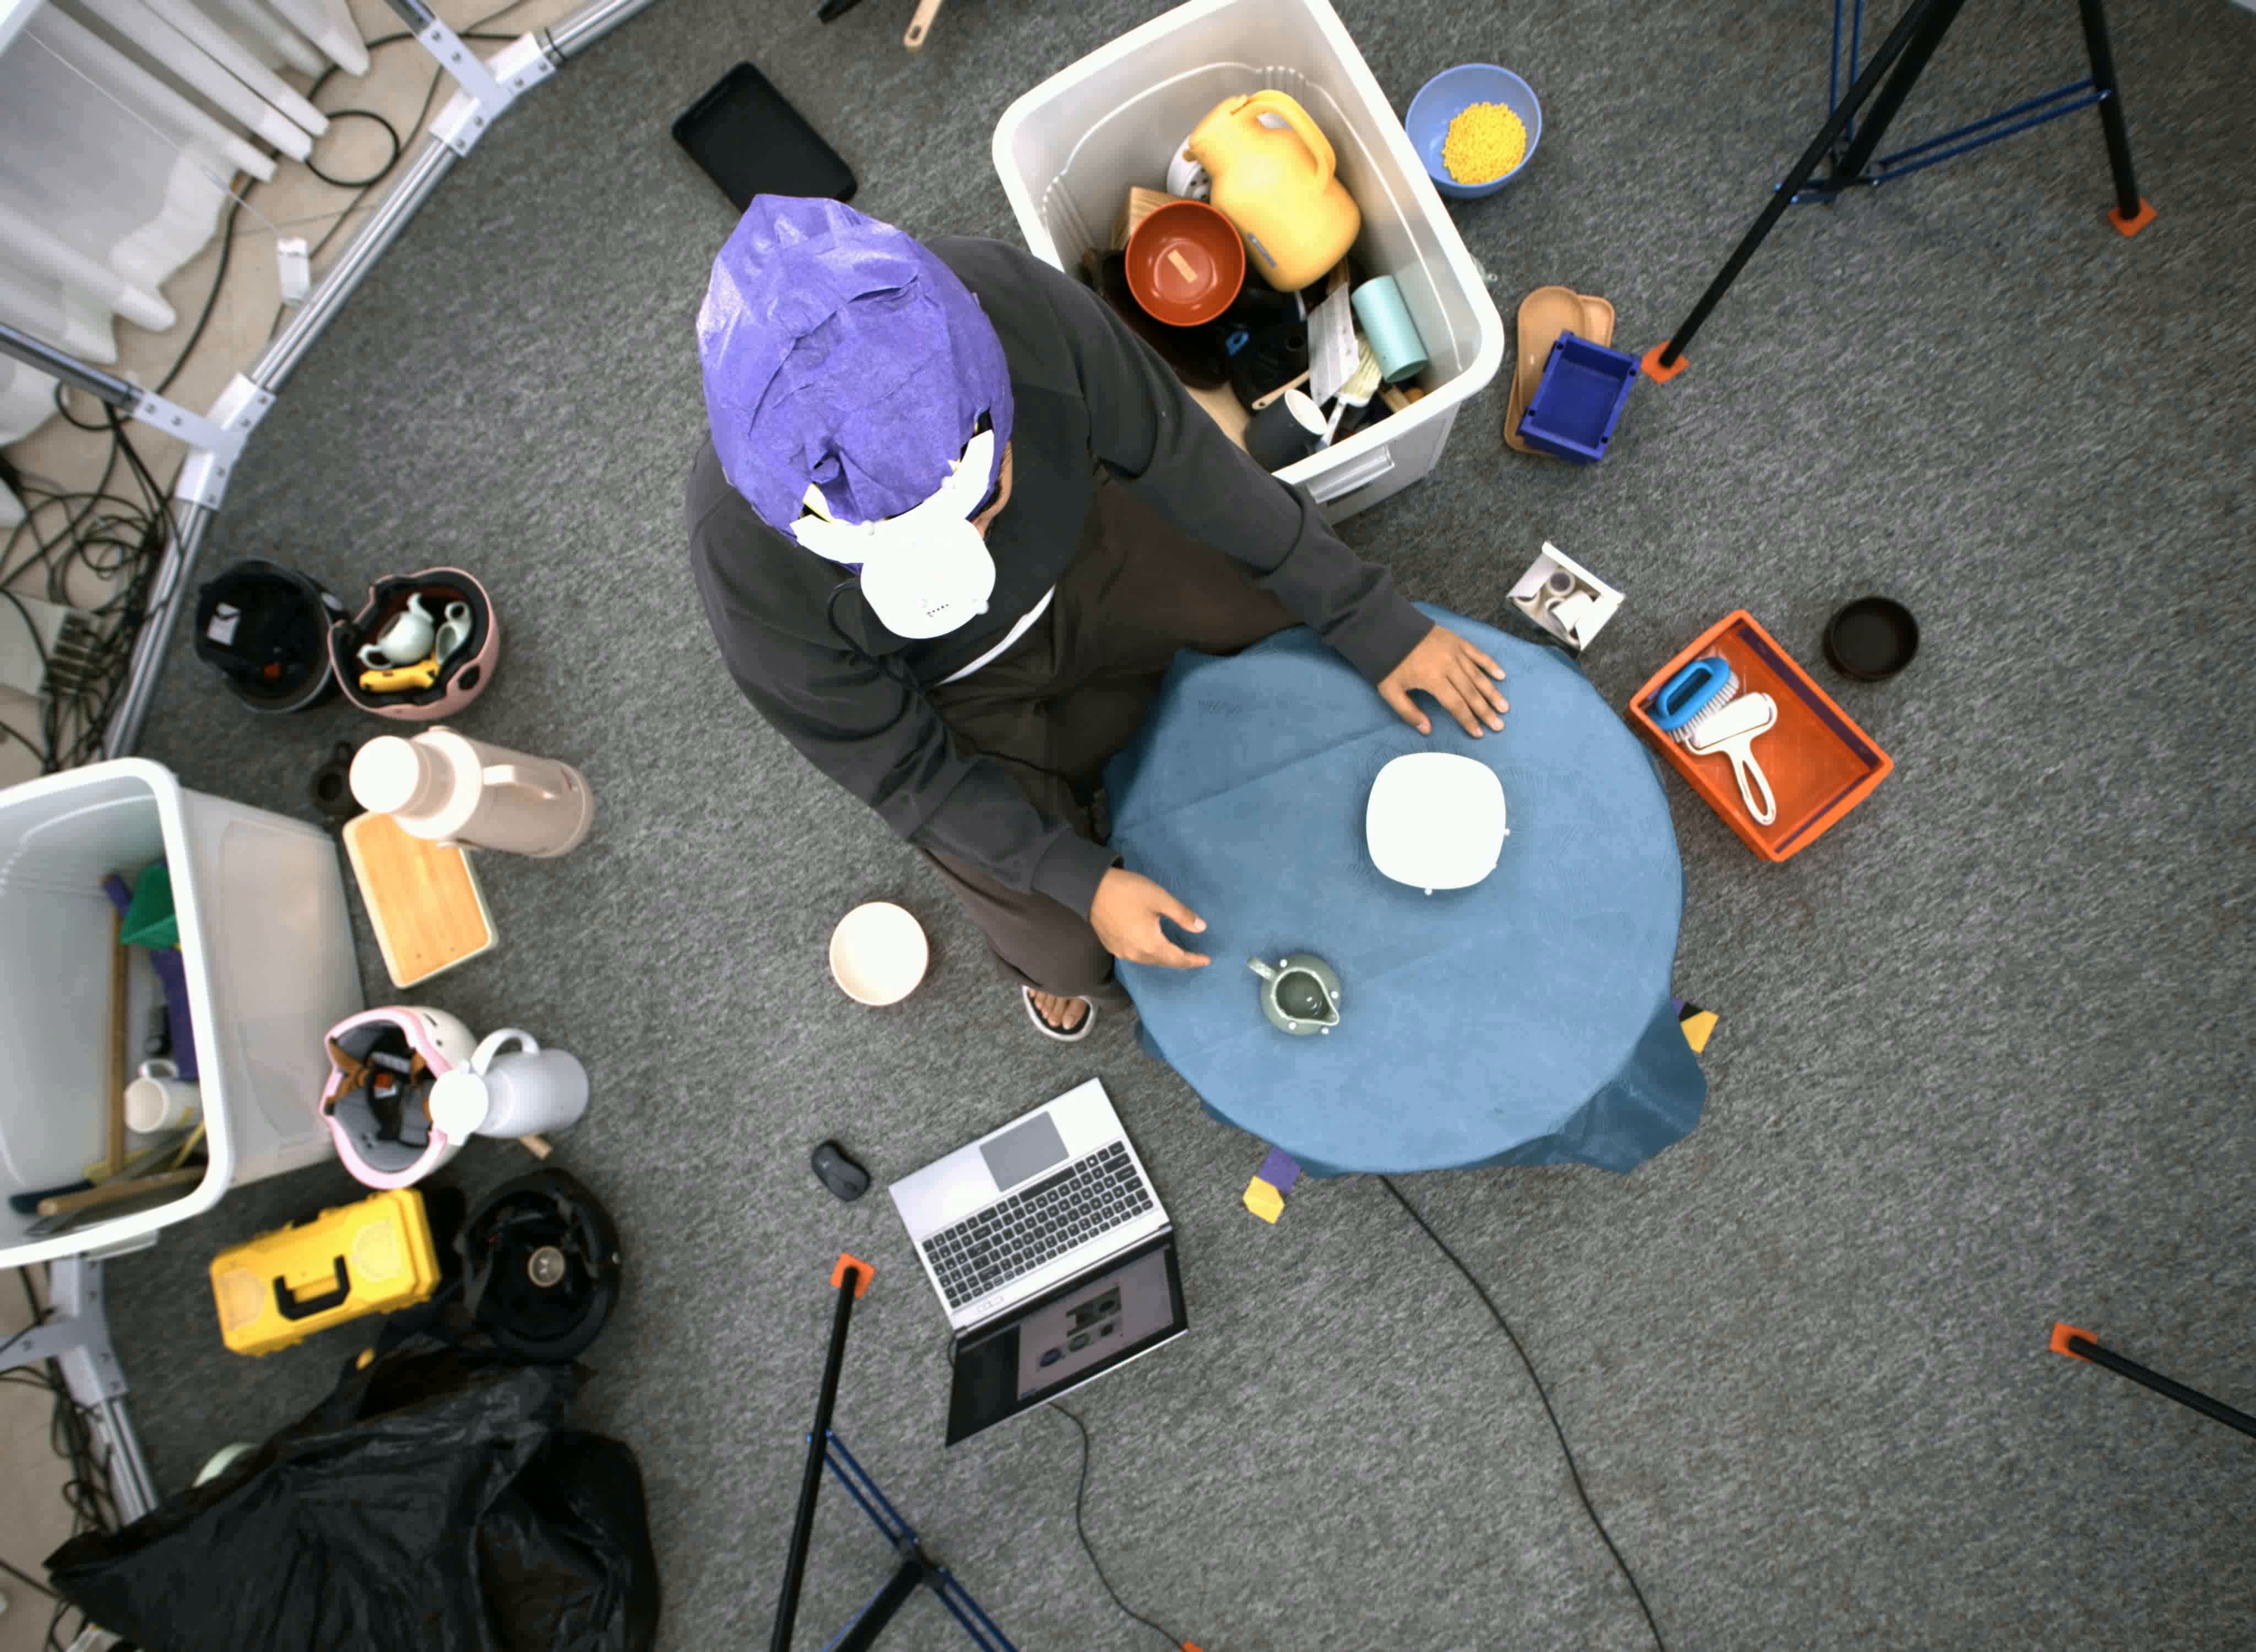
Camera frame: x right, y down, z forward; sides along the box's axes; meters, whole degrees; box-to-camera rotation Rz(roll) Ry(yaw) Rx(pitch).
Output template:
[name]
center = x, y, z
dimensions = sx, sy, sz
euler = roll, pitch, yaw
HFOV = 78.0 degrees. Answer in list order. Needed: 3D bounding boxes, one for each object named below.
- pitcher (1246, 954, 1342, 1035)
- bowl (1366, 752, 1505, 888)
[pitcher]
center = 0.174, 0.171, 1.446
dimensions = 0.112, 0.056, 0.084
euler = 32, 91, 12
[bowl]
center = 0.317, -0.006, 1.429
dimensions = 0.152, 0.058, 0.151
euler = -1, 87, 10
